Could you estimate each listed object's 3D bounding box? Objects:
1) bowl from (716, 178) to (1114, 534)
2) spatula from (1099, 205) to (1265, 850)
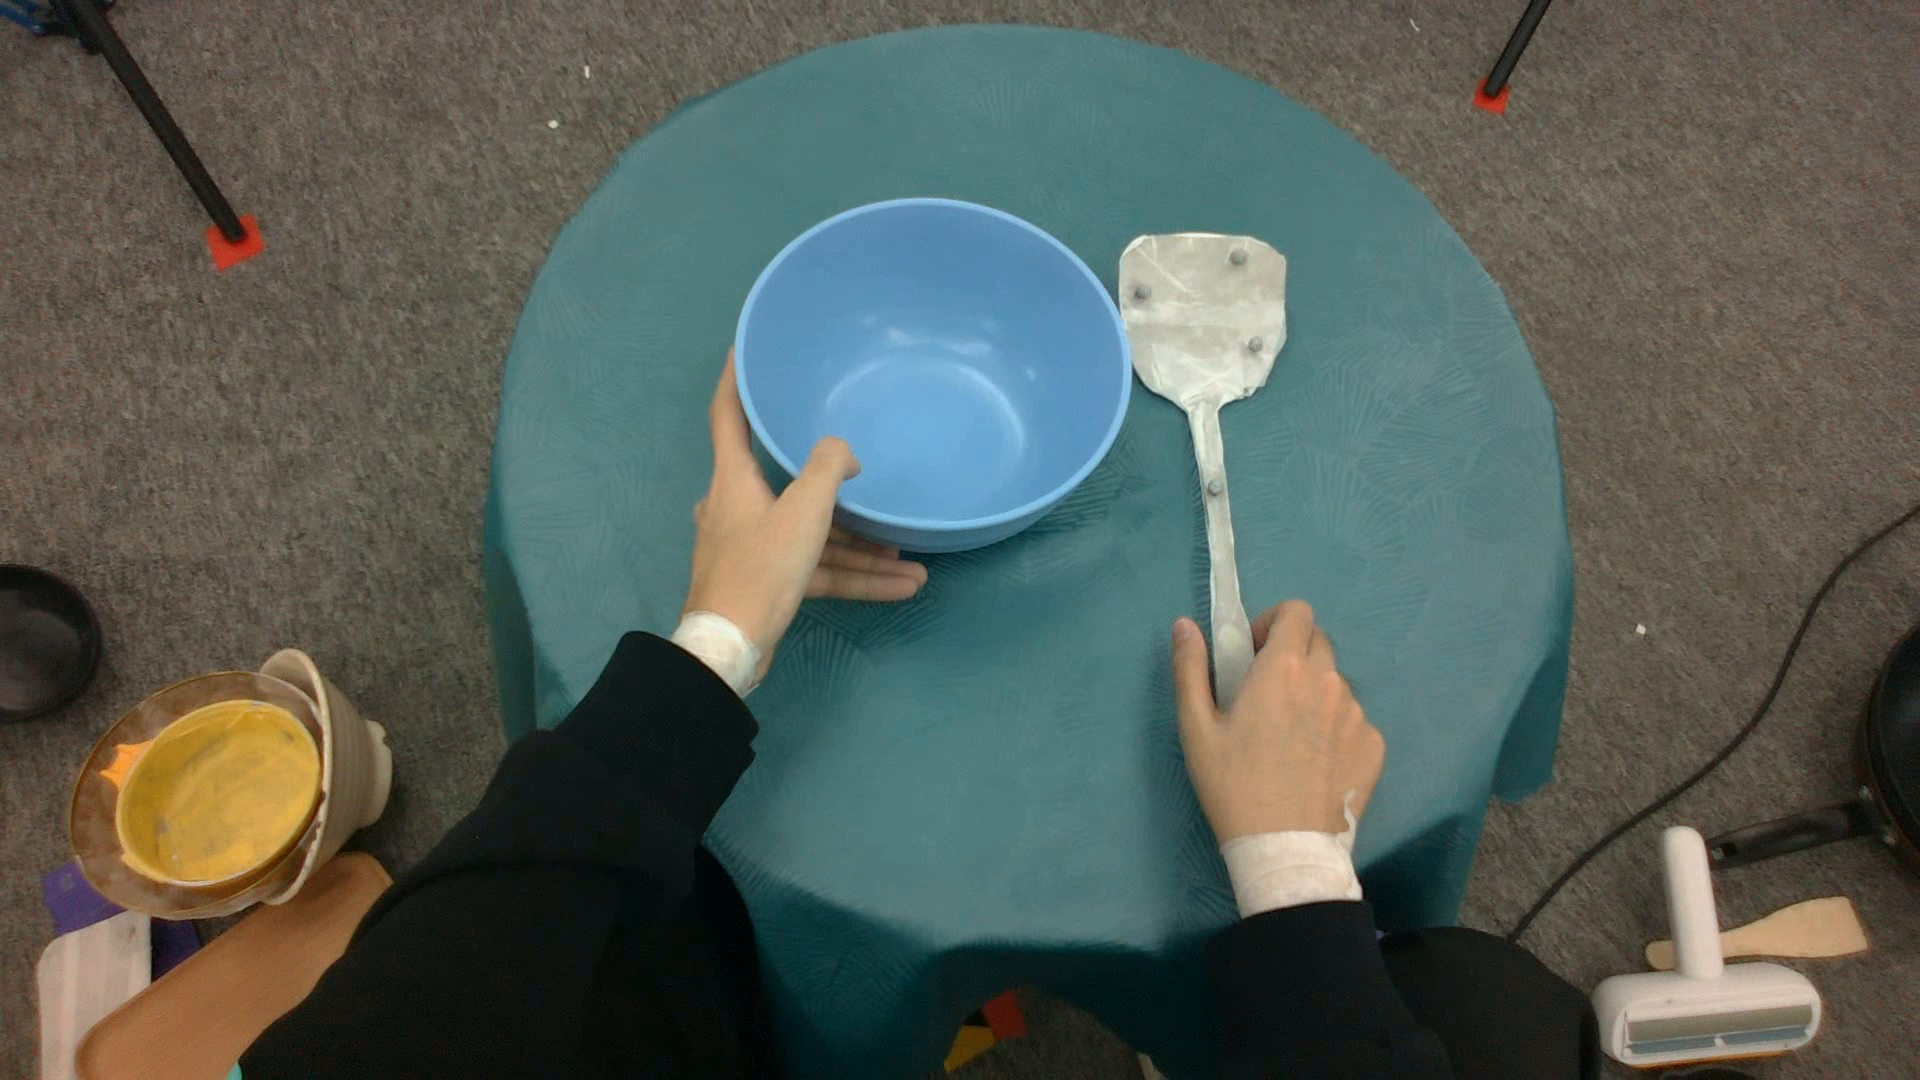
[{"bbox_3d":[-0.026,-0.081,0.717,0.196,0.095,0.197,3,63,-6],"label":"bowl"},{"bbox_3d":[0.126,-0.020,0.734,0.099,0.044,0.366,4,63,-6],"label":"spatula"}]
